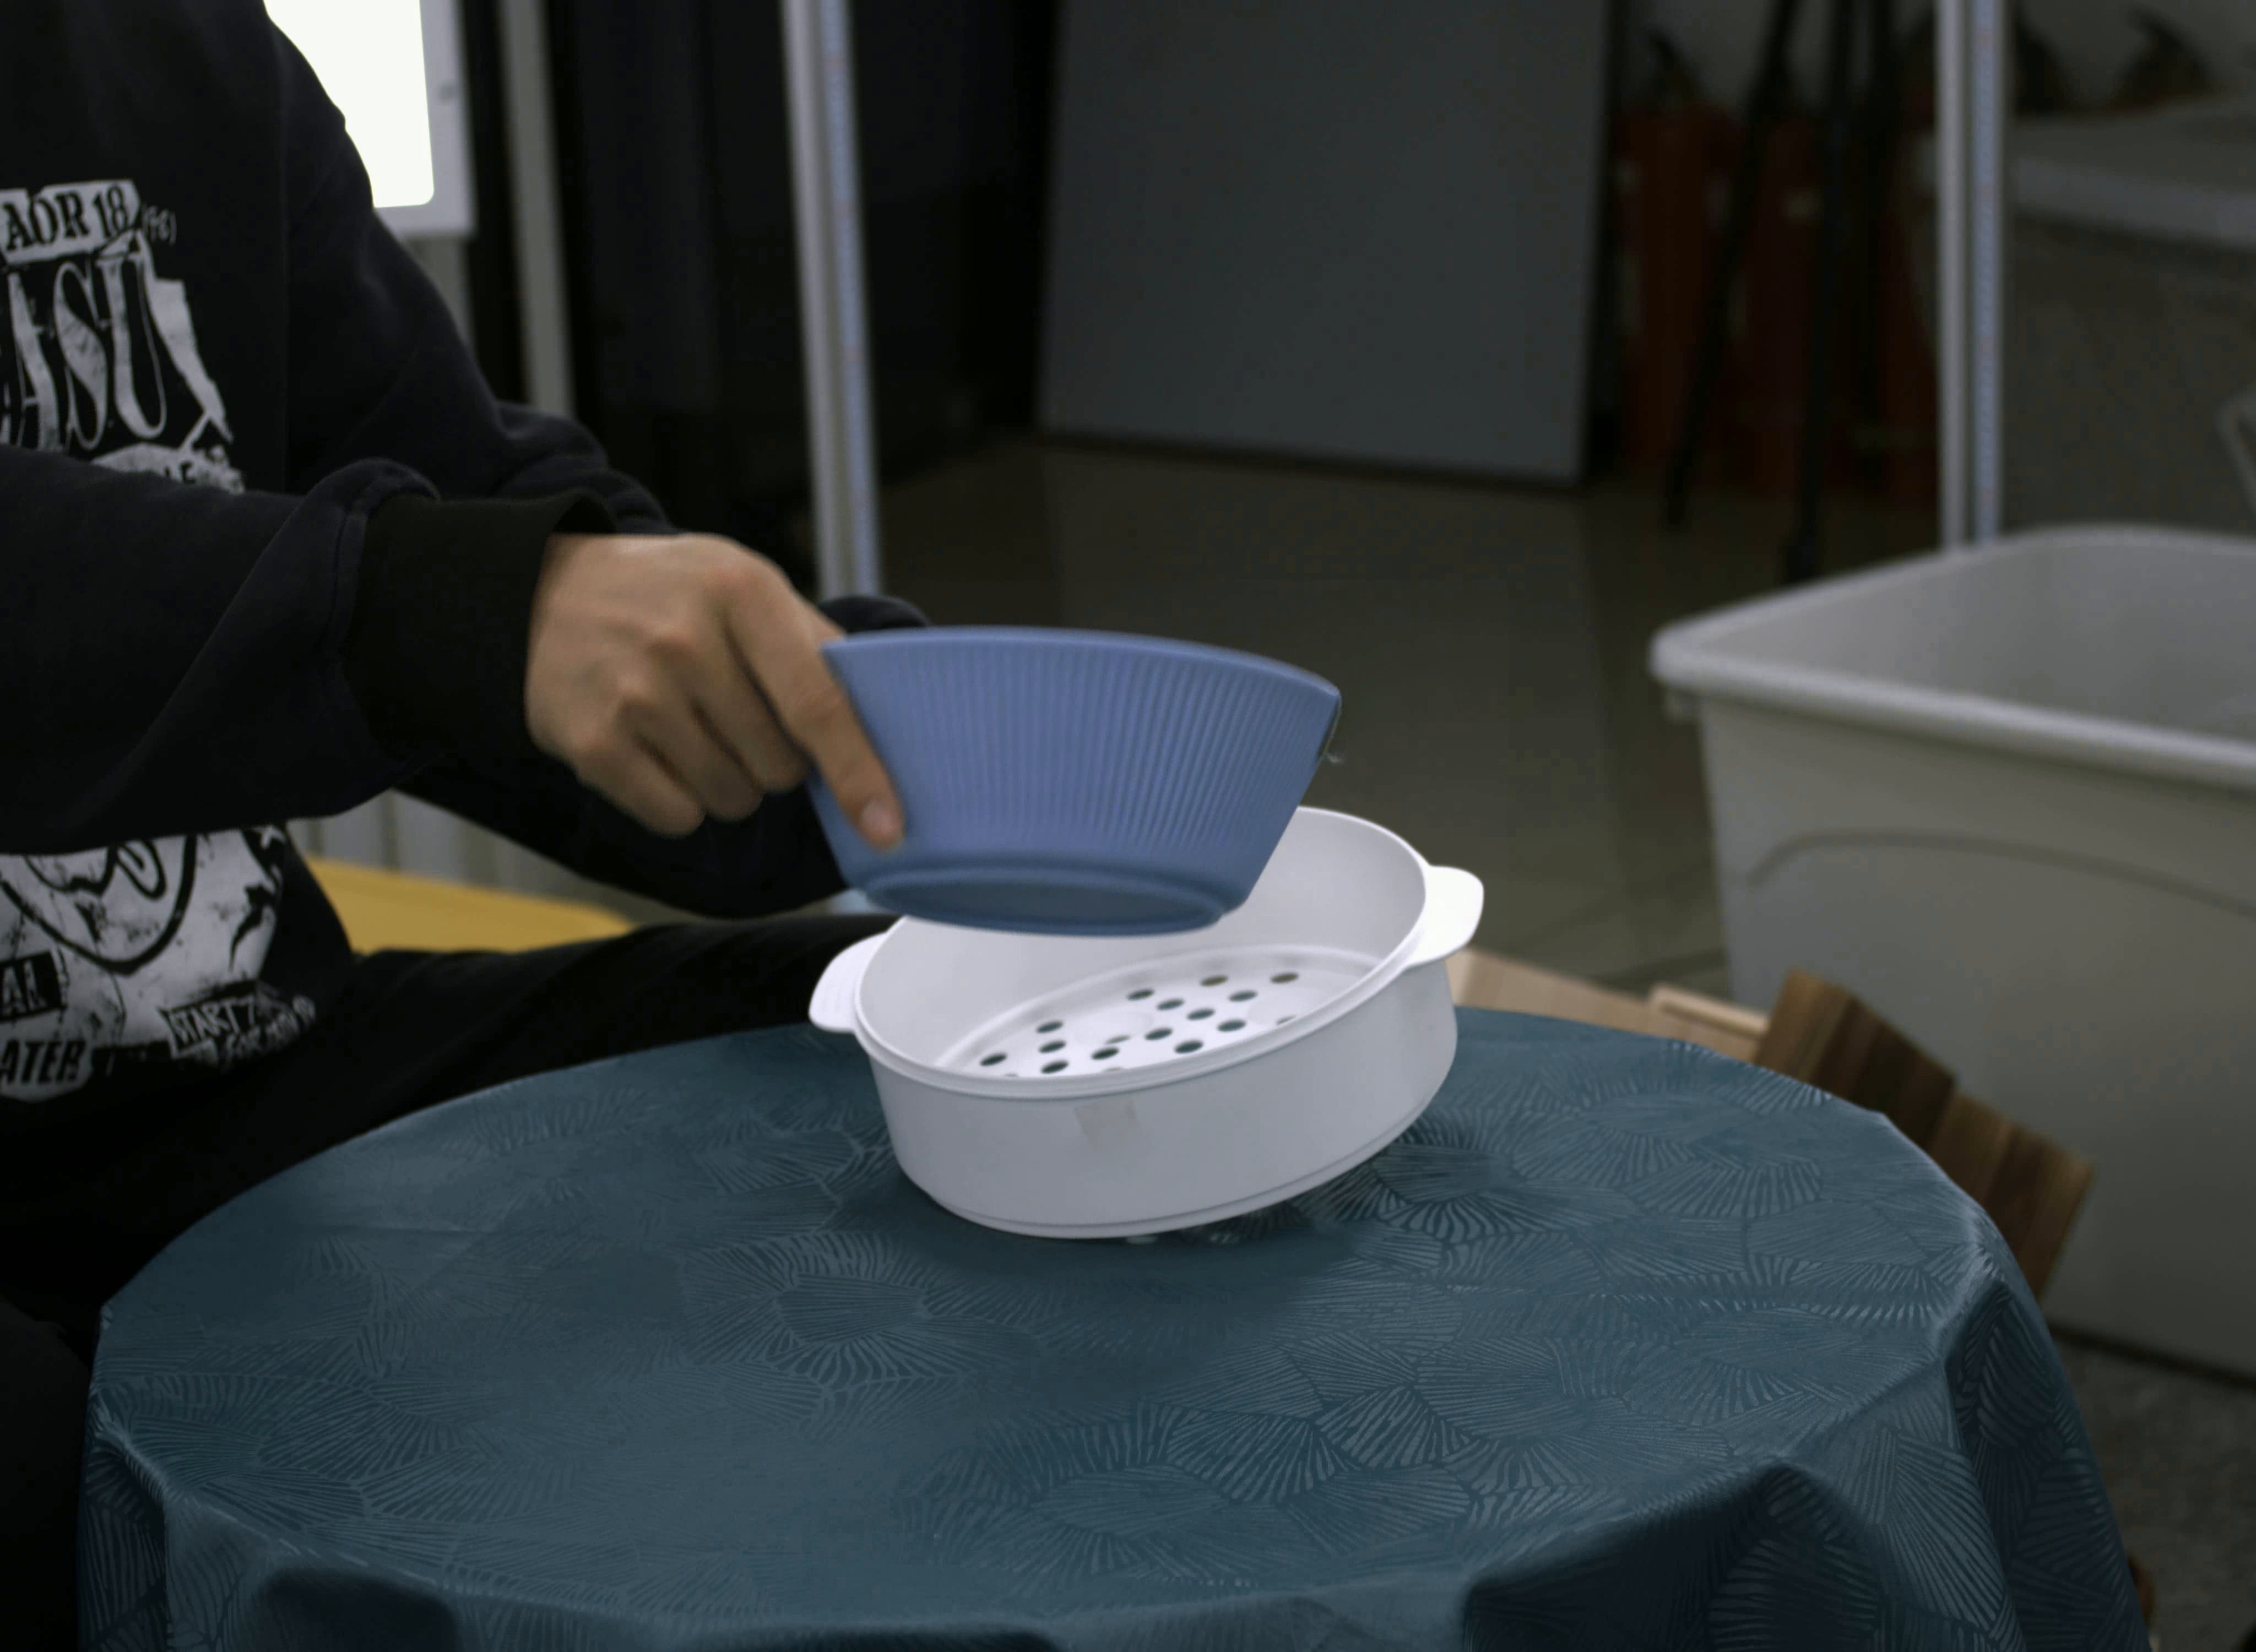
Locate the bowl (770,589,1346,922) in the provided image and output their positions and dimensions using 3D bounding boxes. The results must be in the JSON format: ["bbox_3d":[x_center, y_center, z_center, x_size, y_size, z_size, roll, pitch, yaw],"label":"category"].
[{"bbox_3d":[-0.022,-0.016,1.614,0.174,0.071,0.176,3,-13,0],"label":"bowl"}]

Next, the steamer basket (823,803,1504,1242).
[{"bbox_3d":[0.016,0.064,1.785,0.229,0.070,0.201,-6,24,13],"label":"steamer basket"}]
